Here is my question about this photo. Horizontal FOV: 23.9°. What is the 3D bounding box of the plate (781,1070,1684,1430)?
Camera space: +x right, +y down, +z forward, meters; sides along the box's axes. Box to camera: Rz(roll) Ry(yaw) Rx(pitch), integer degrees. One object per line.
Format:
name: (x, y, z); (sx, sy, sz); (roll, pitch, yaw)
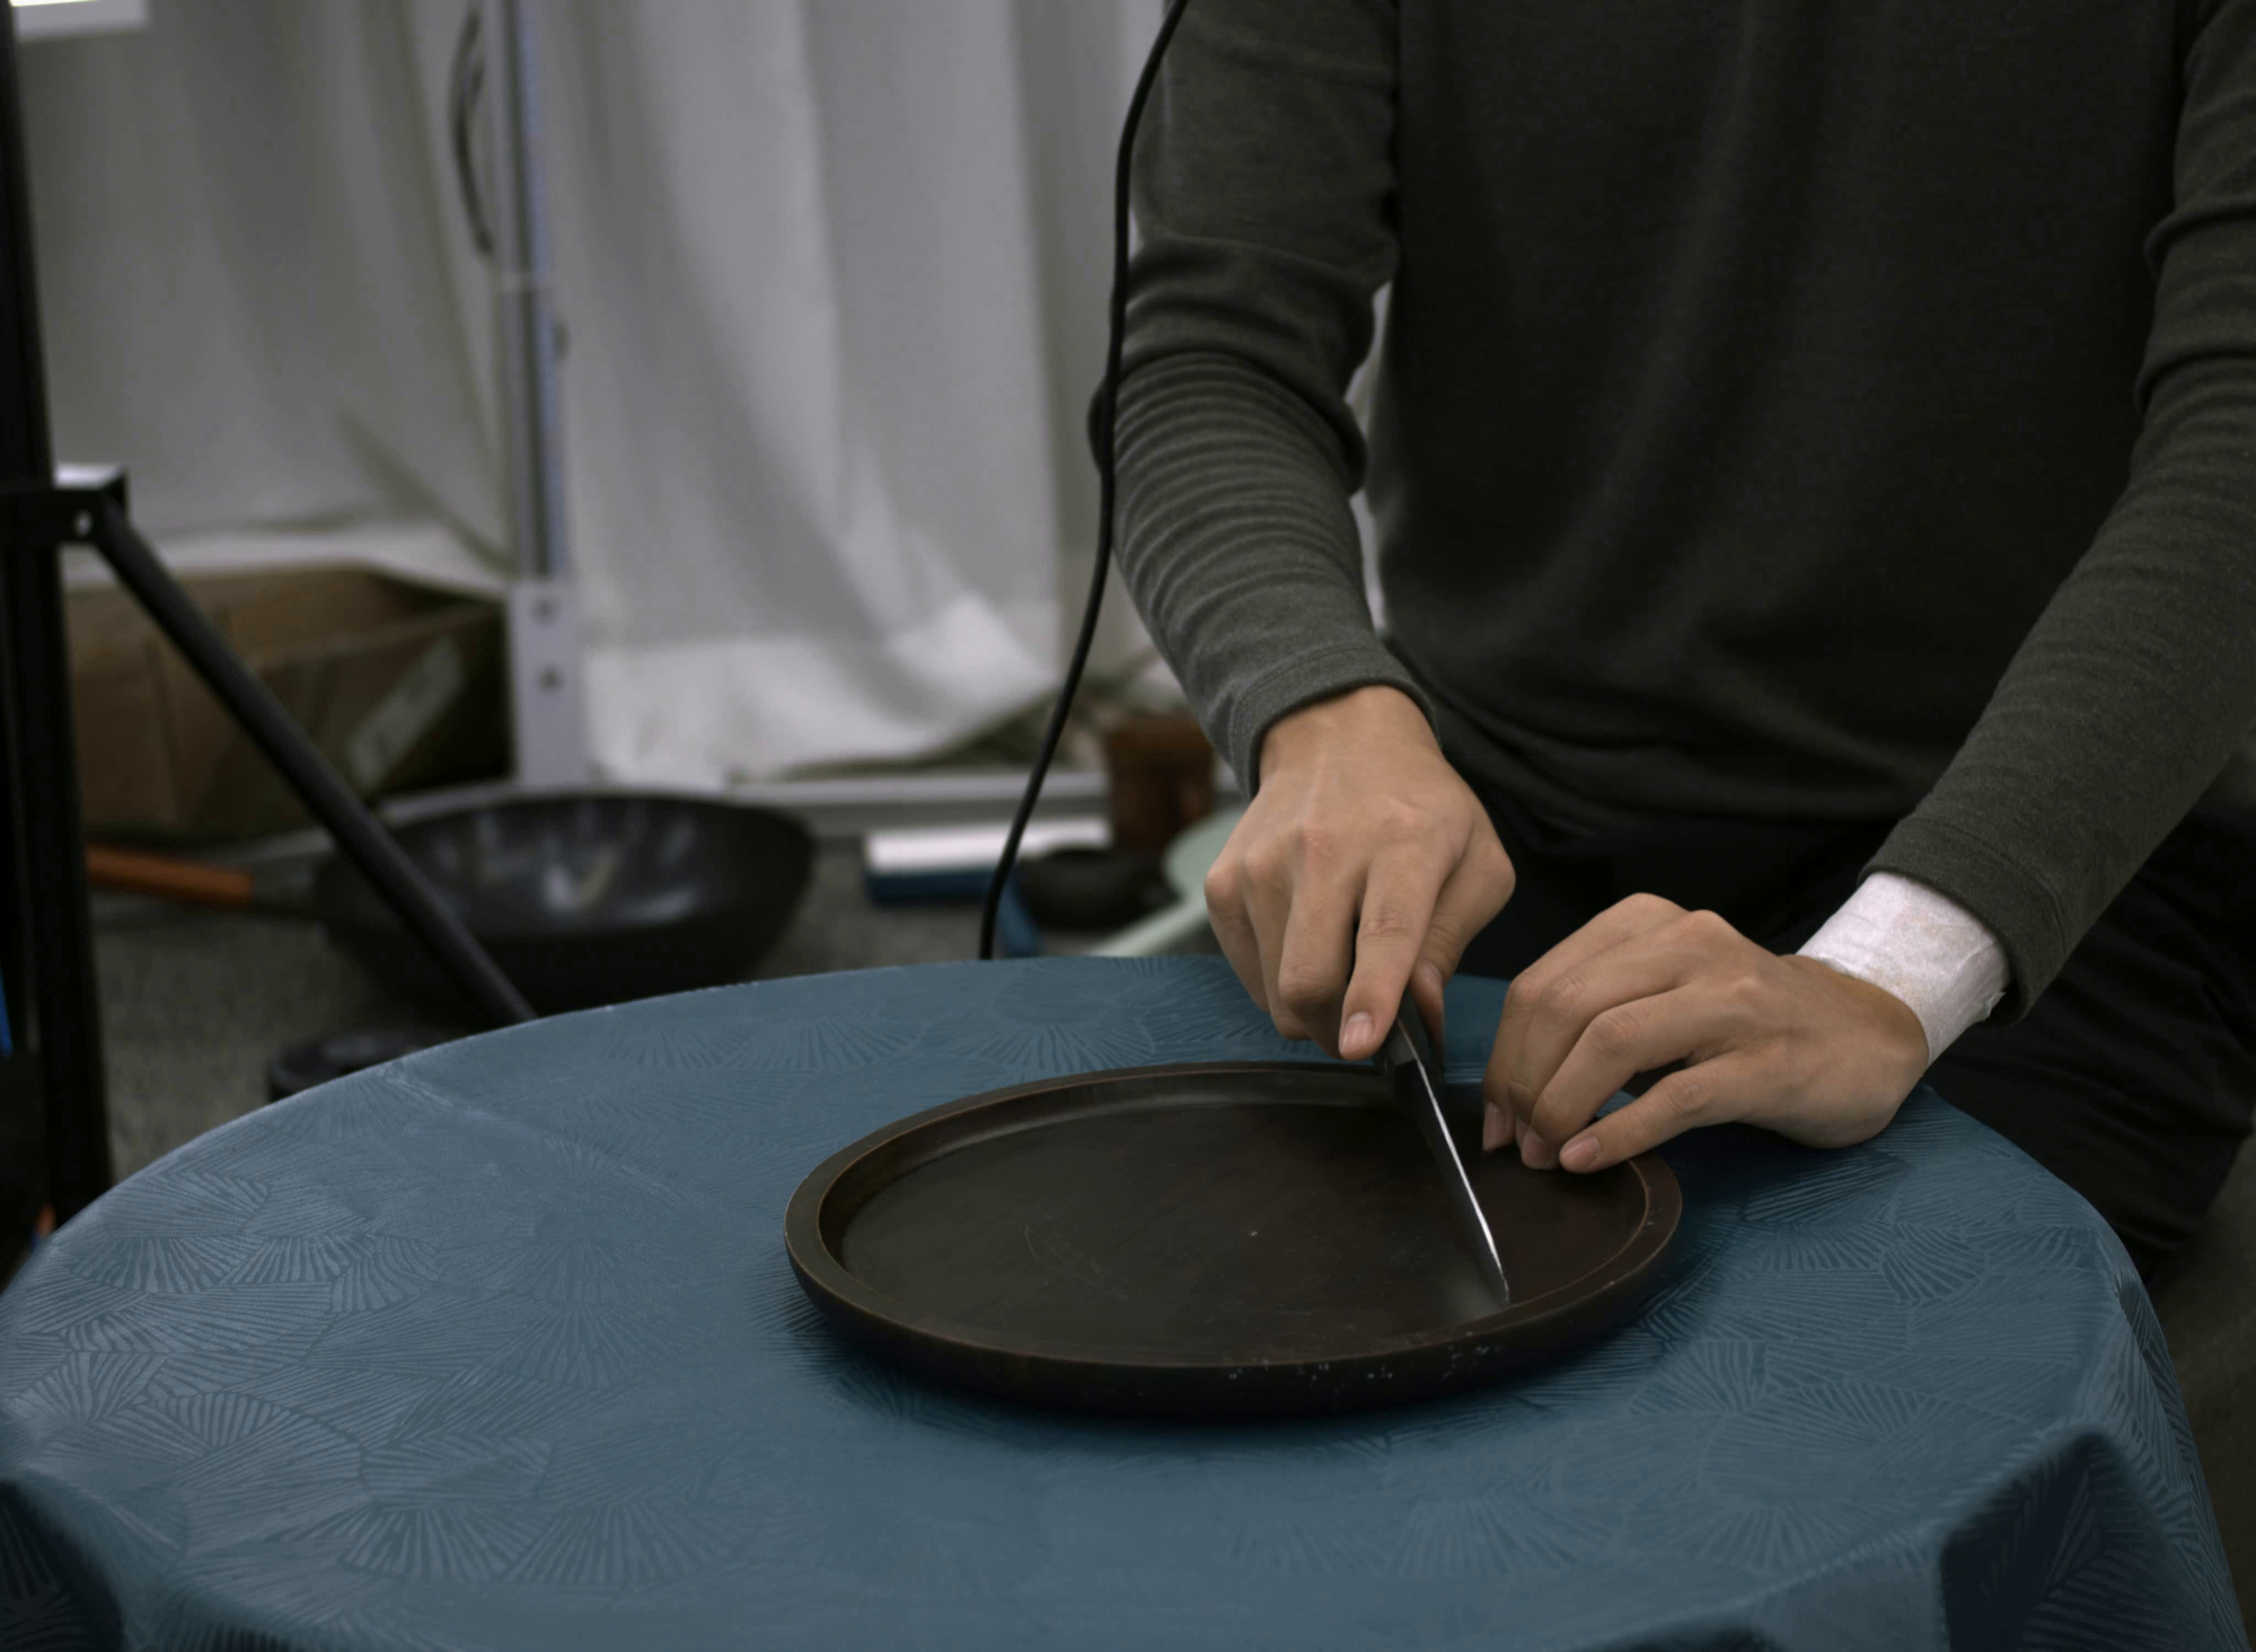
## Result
plate: (0.029, 0.116, 1.490); (0.253, 0.029, 0.256); (-3, 17, -1)

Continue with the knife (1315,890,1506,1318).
knife: (0.084, 0.078, 1.513); (0.016, 0.024, 0.241); (0, 27, -11)
